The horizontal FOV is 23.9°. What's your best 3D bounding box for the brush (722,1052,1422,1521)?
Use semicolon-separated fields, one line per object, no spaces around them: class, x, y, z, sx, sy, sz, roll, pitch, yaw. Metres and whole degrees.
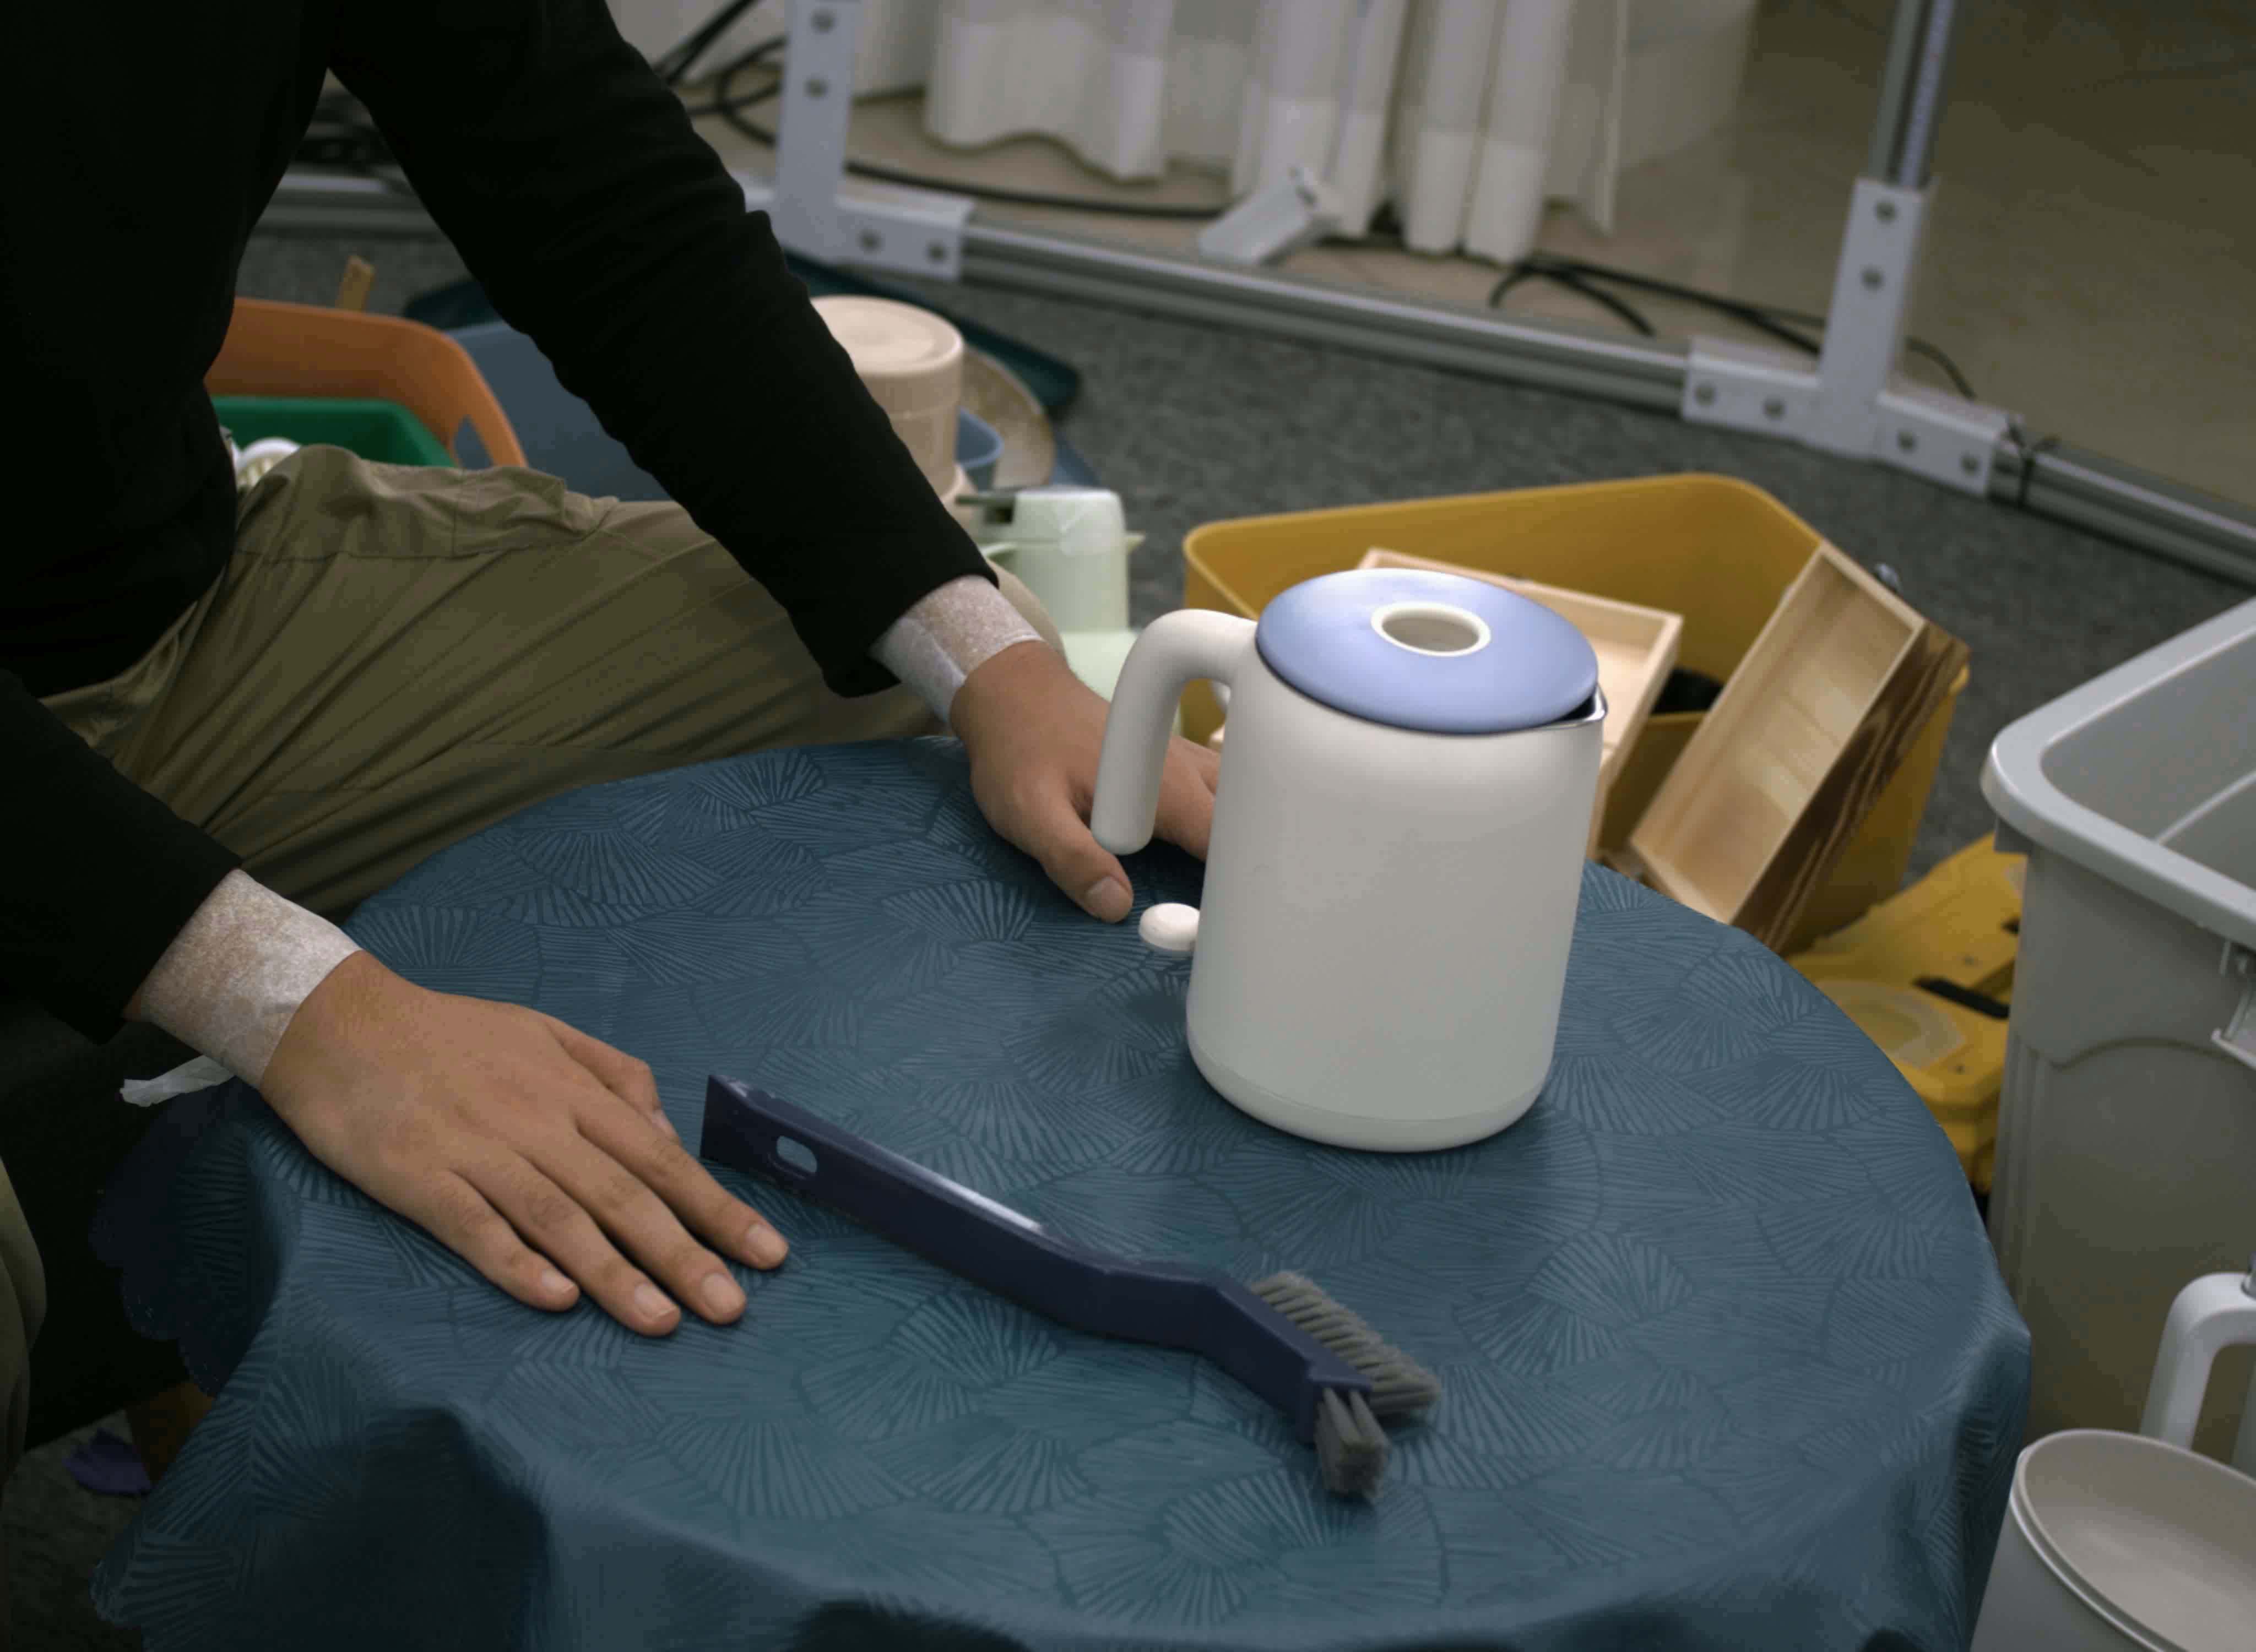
brush;-0.031;0.144;1.721;0.274;0.033;0.095;19;33;22

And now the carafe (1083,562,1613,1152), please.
carafe;0.072;0.003;1.866;0.192;0.182;0.132;18;28;24
